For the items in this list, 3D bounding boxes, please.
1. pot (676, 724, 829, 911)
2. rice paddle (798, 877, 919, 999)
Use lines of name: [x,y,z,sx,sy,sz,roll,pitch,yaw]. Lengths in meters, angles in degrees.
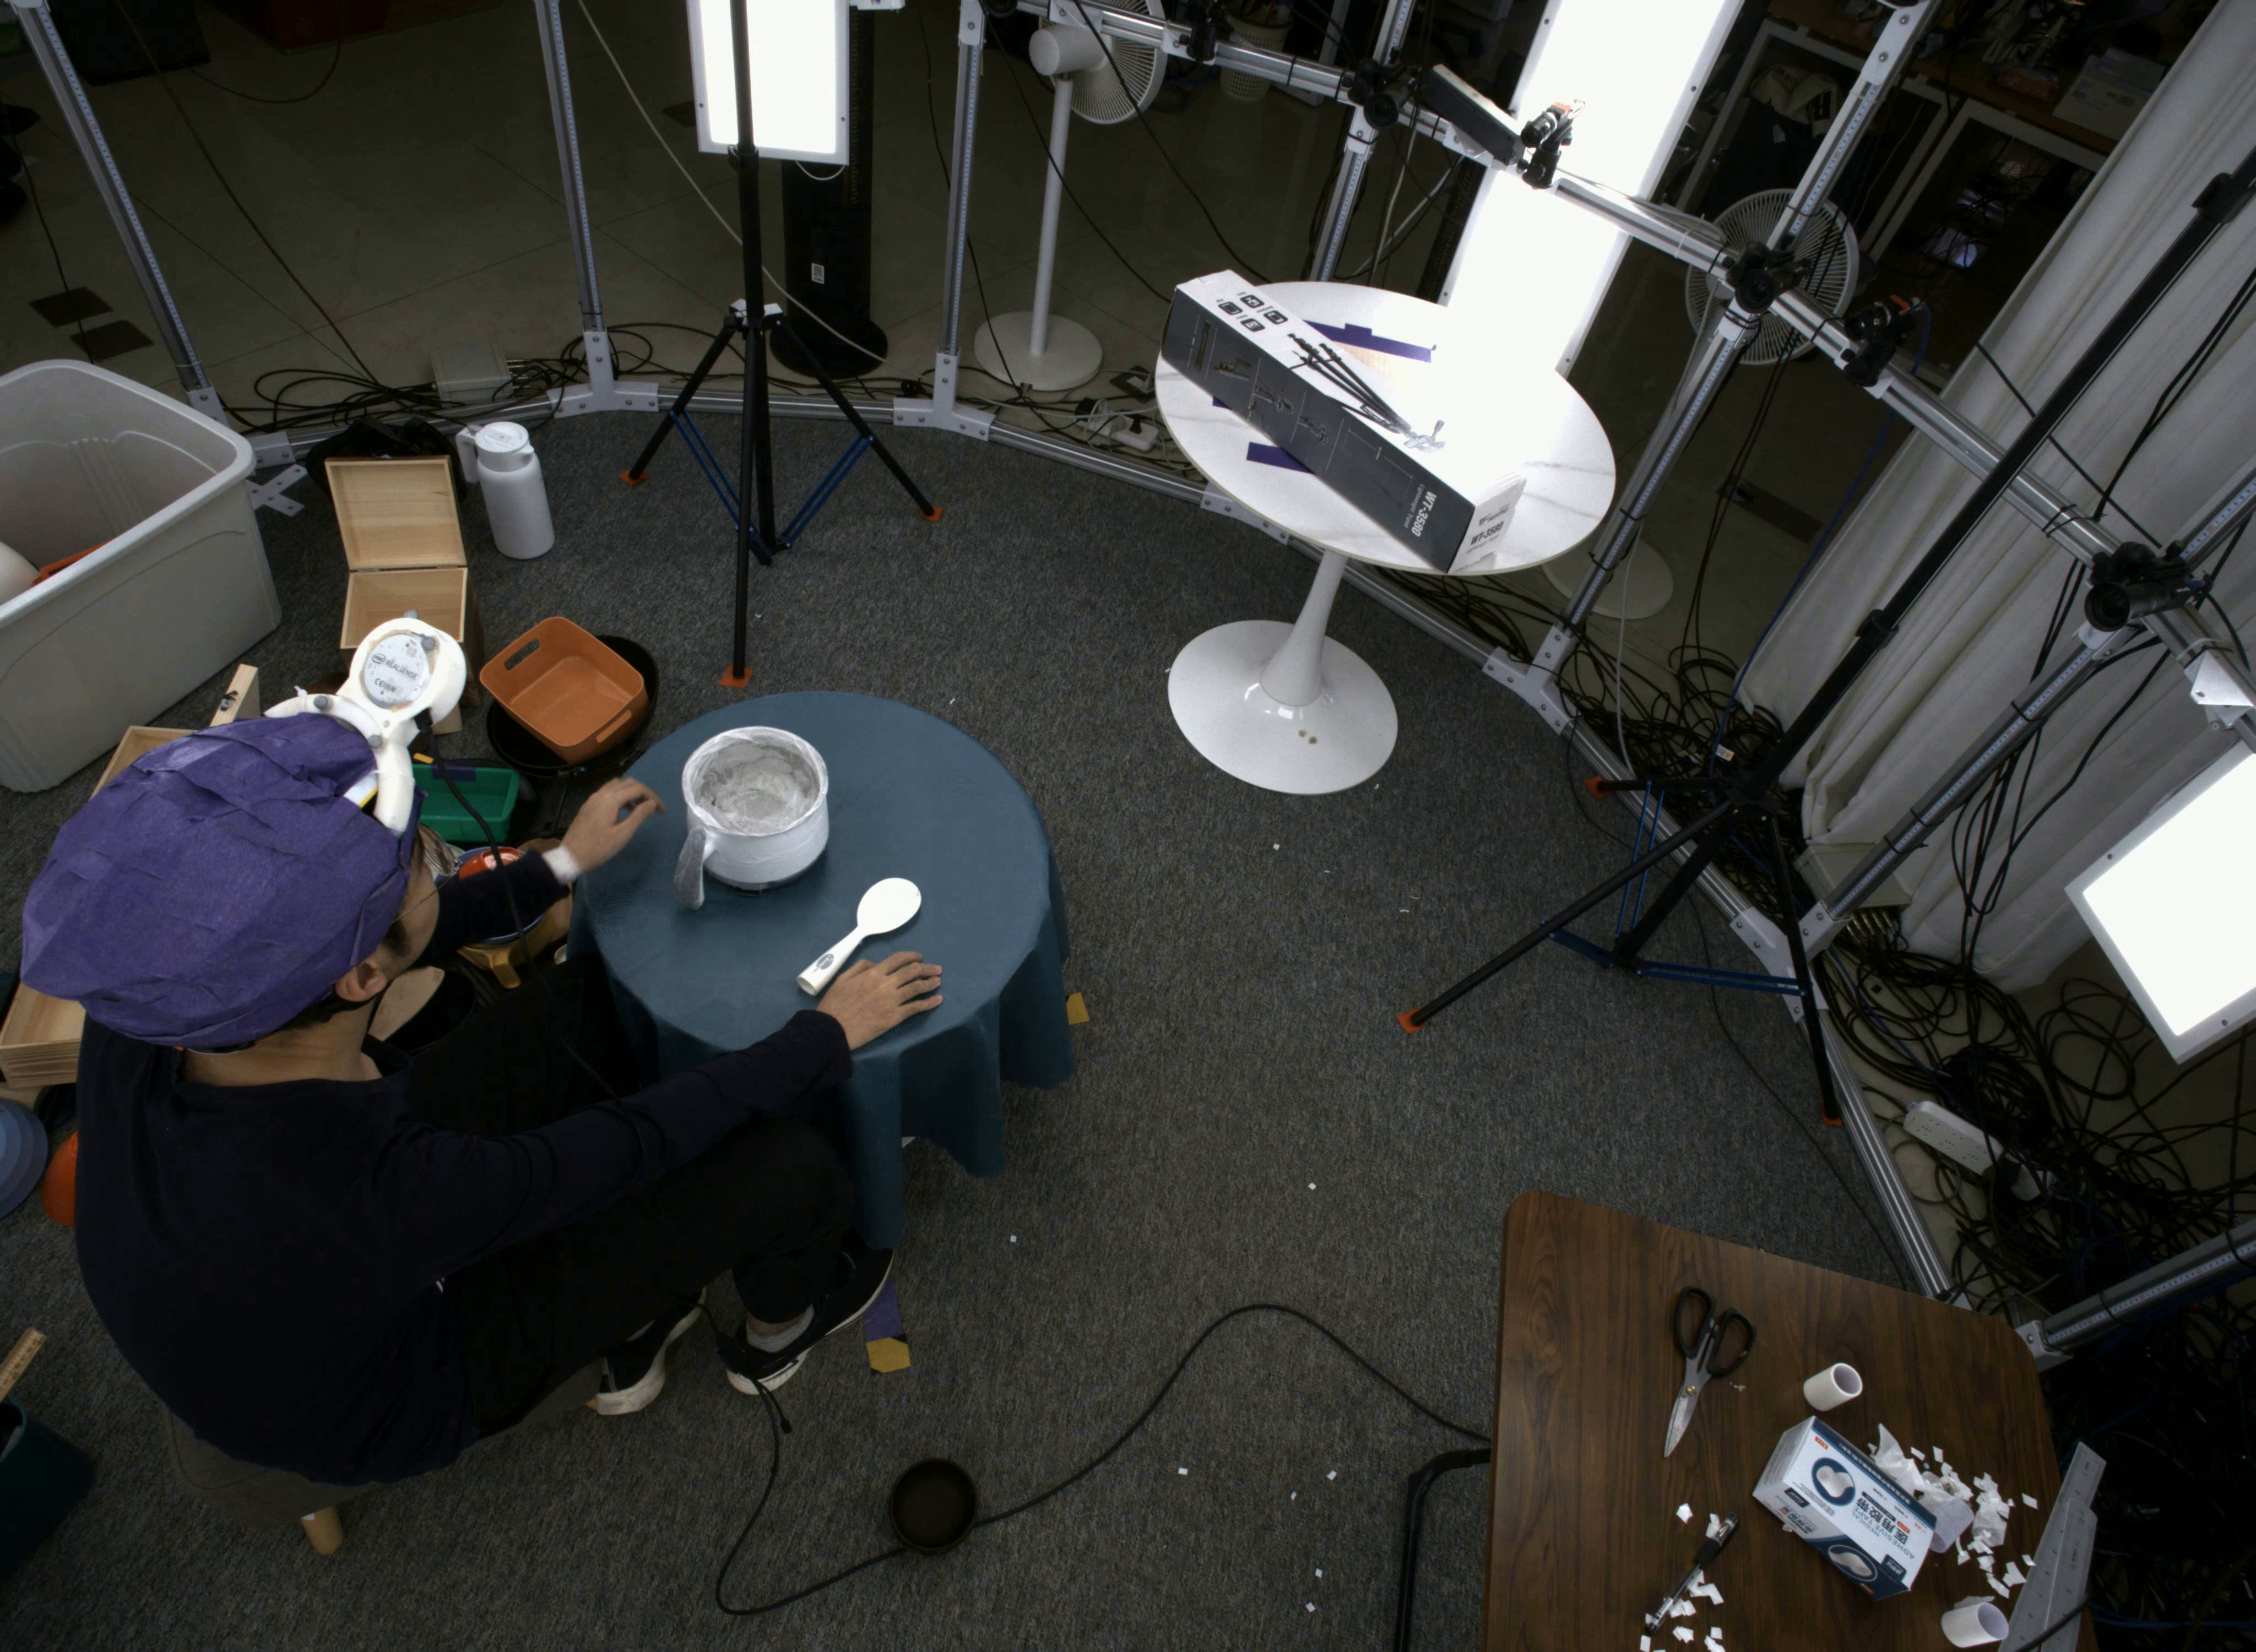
pot: [-0.485,-0.002,1.633,0.175,0.140,0.233,27,51,11]
rice paddle: [-0.338,0.133,1.640,0.068,0.030,0.205,33,54,9]
